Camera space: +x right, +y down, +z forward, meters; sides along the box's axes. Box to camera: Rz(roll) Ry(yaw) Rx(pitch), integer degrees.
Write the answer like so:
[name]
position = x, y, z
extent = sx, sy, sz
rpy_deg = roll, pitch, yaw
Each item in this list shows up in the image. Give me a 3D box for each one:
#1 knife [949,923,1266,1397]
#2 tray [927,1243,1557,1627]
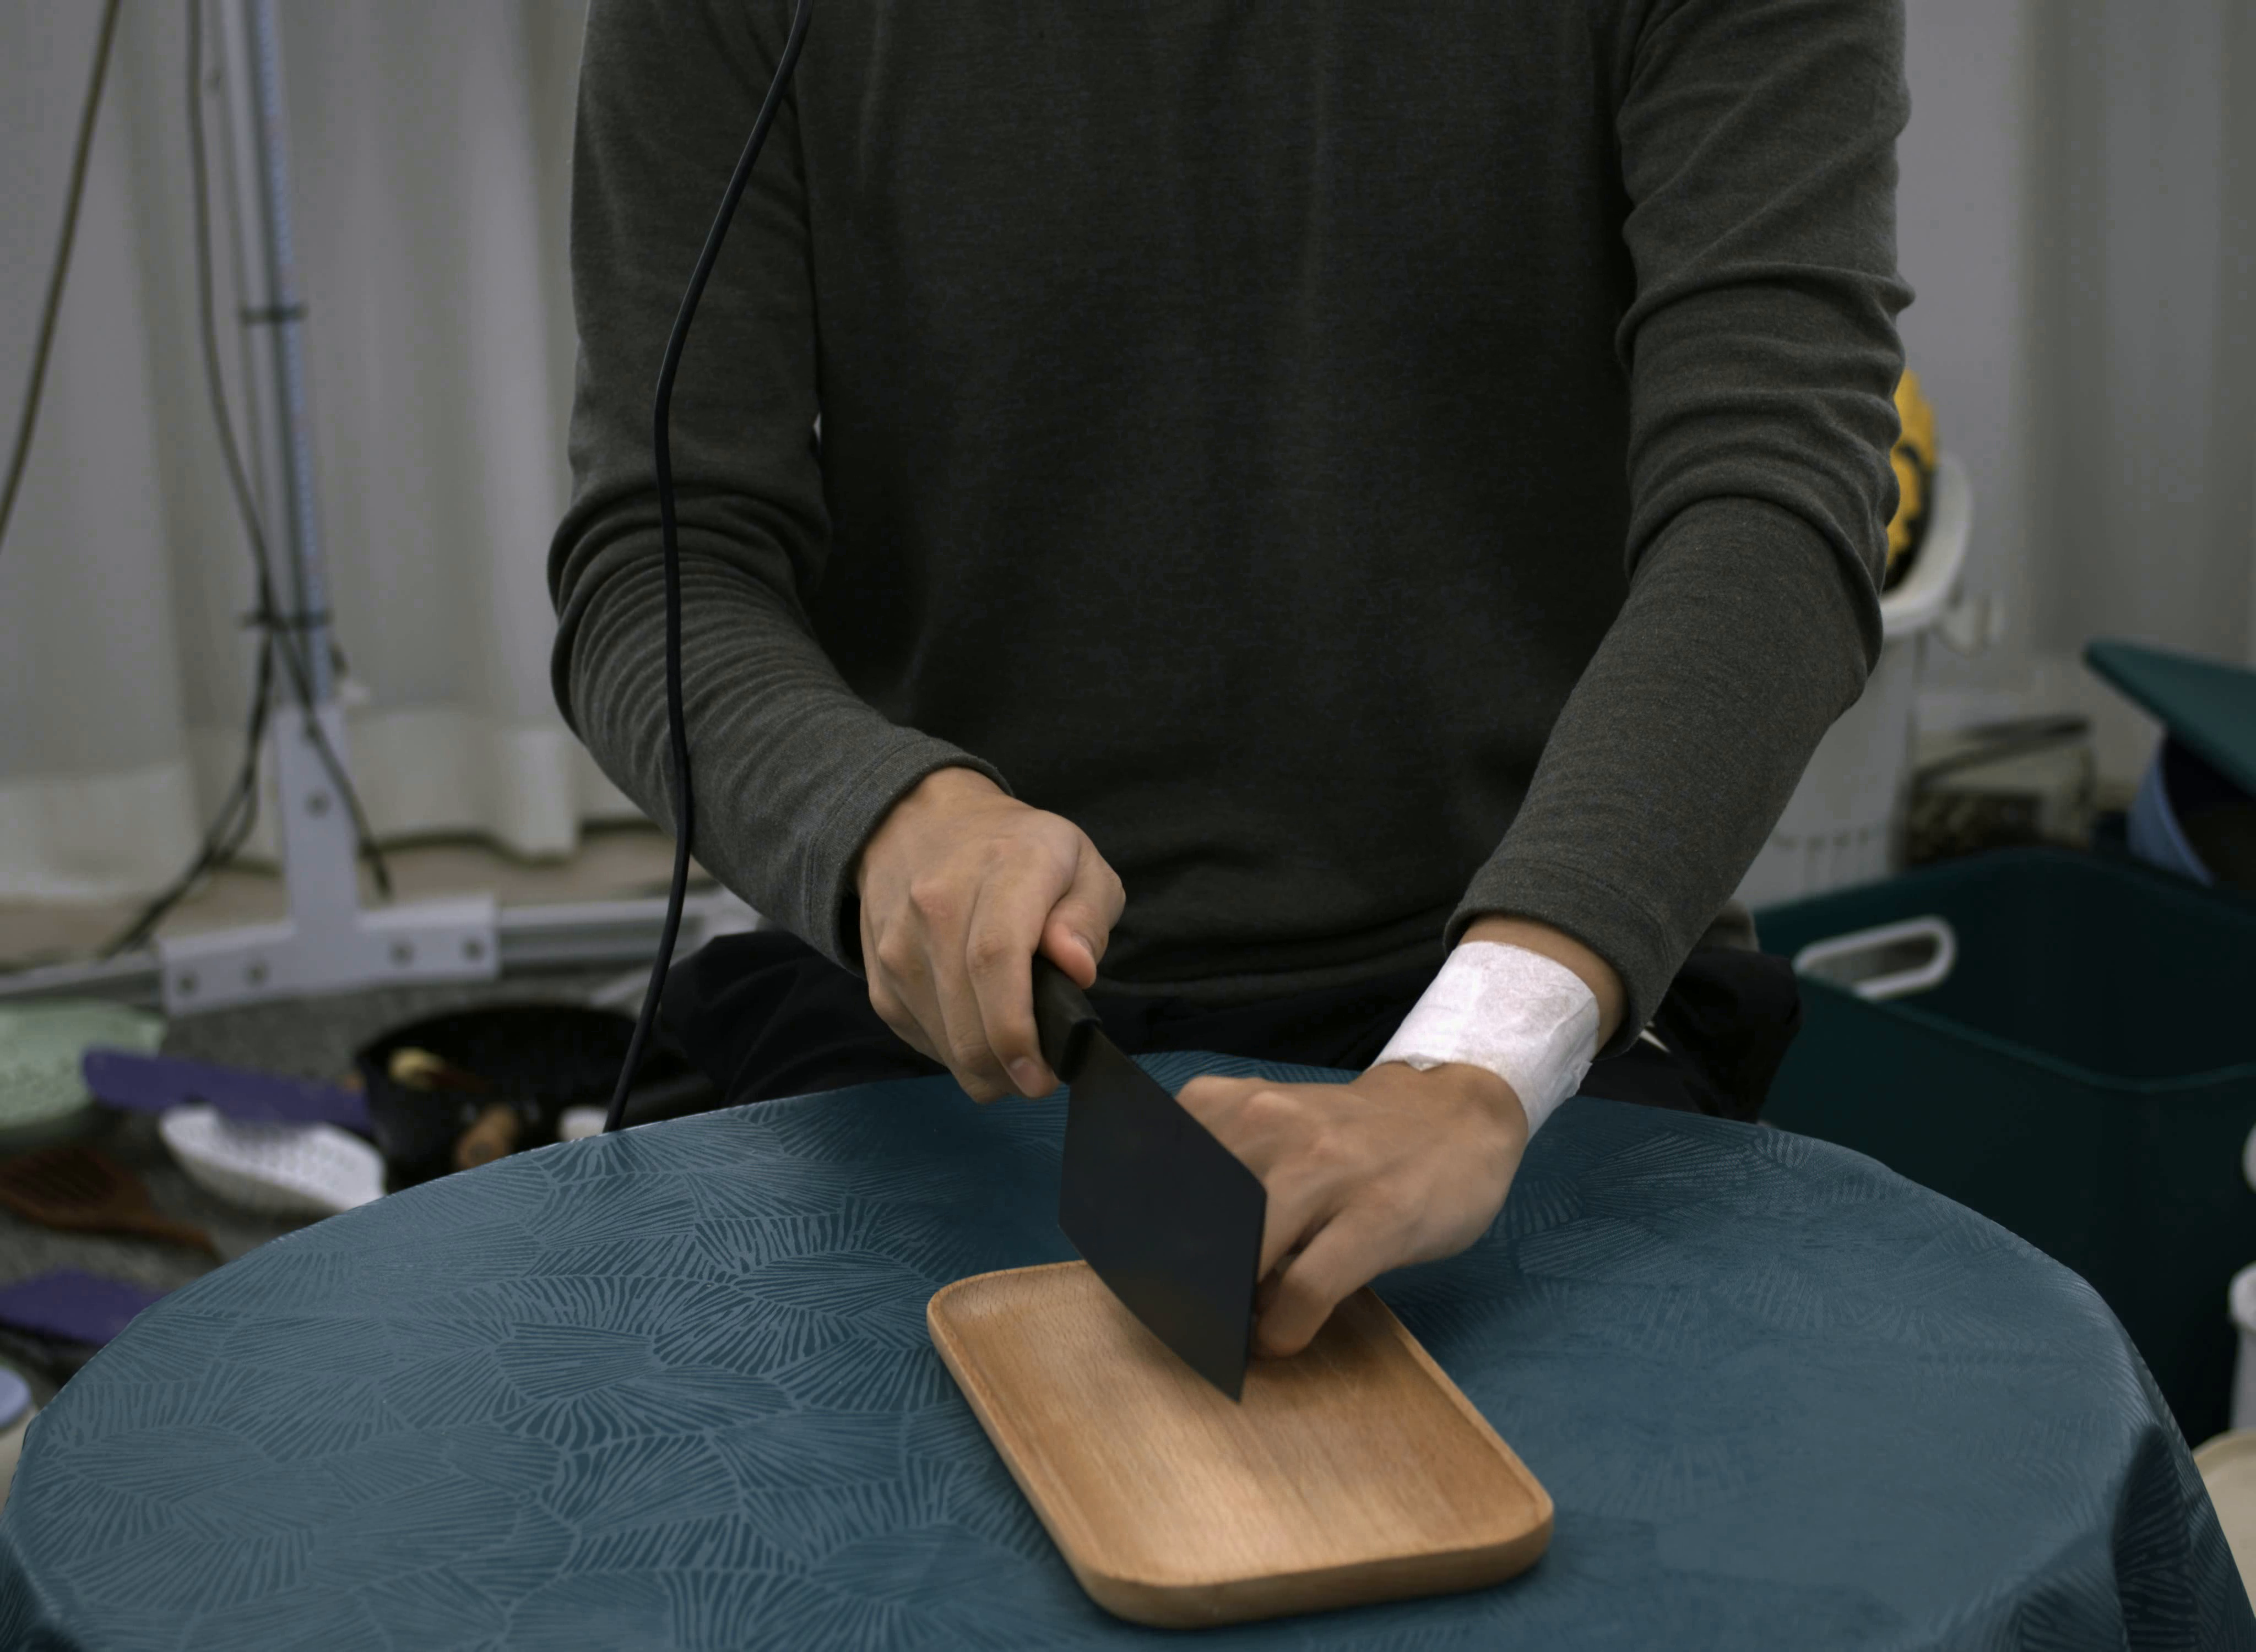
[knife]
position = -0.008, 0.087, 1.564
extent = 0.021, 0.080, 0.305
rpy_deg = 4, 15, -17
[tray]
position = 0.026, 0.164, 1.498
extent = 0.130, 0.023, 0.252
rpy_deg = -3, 13, -12
